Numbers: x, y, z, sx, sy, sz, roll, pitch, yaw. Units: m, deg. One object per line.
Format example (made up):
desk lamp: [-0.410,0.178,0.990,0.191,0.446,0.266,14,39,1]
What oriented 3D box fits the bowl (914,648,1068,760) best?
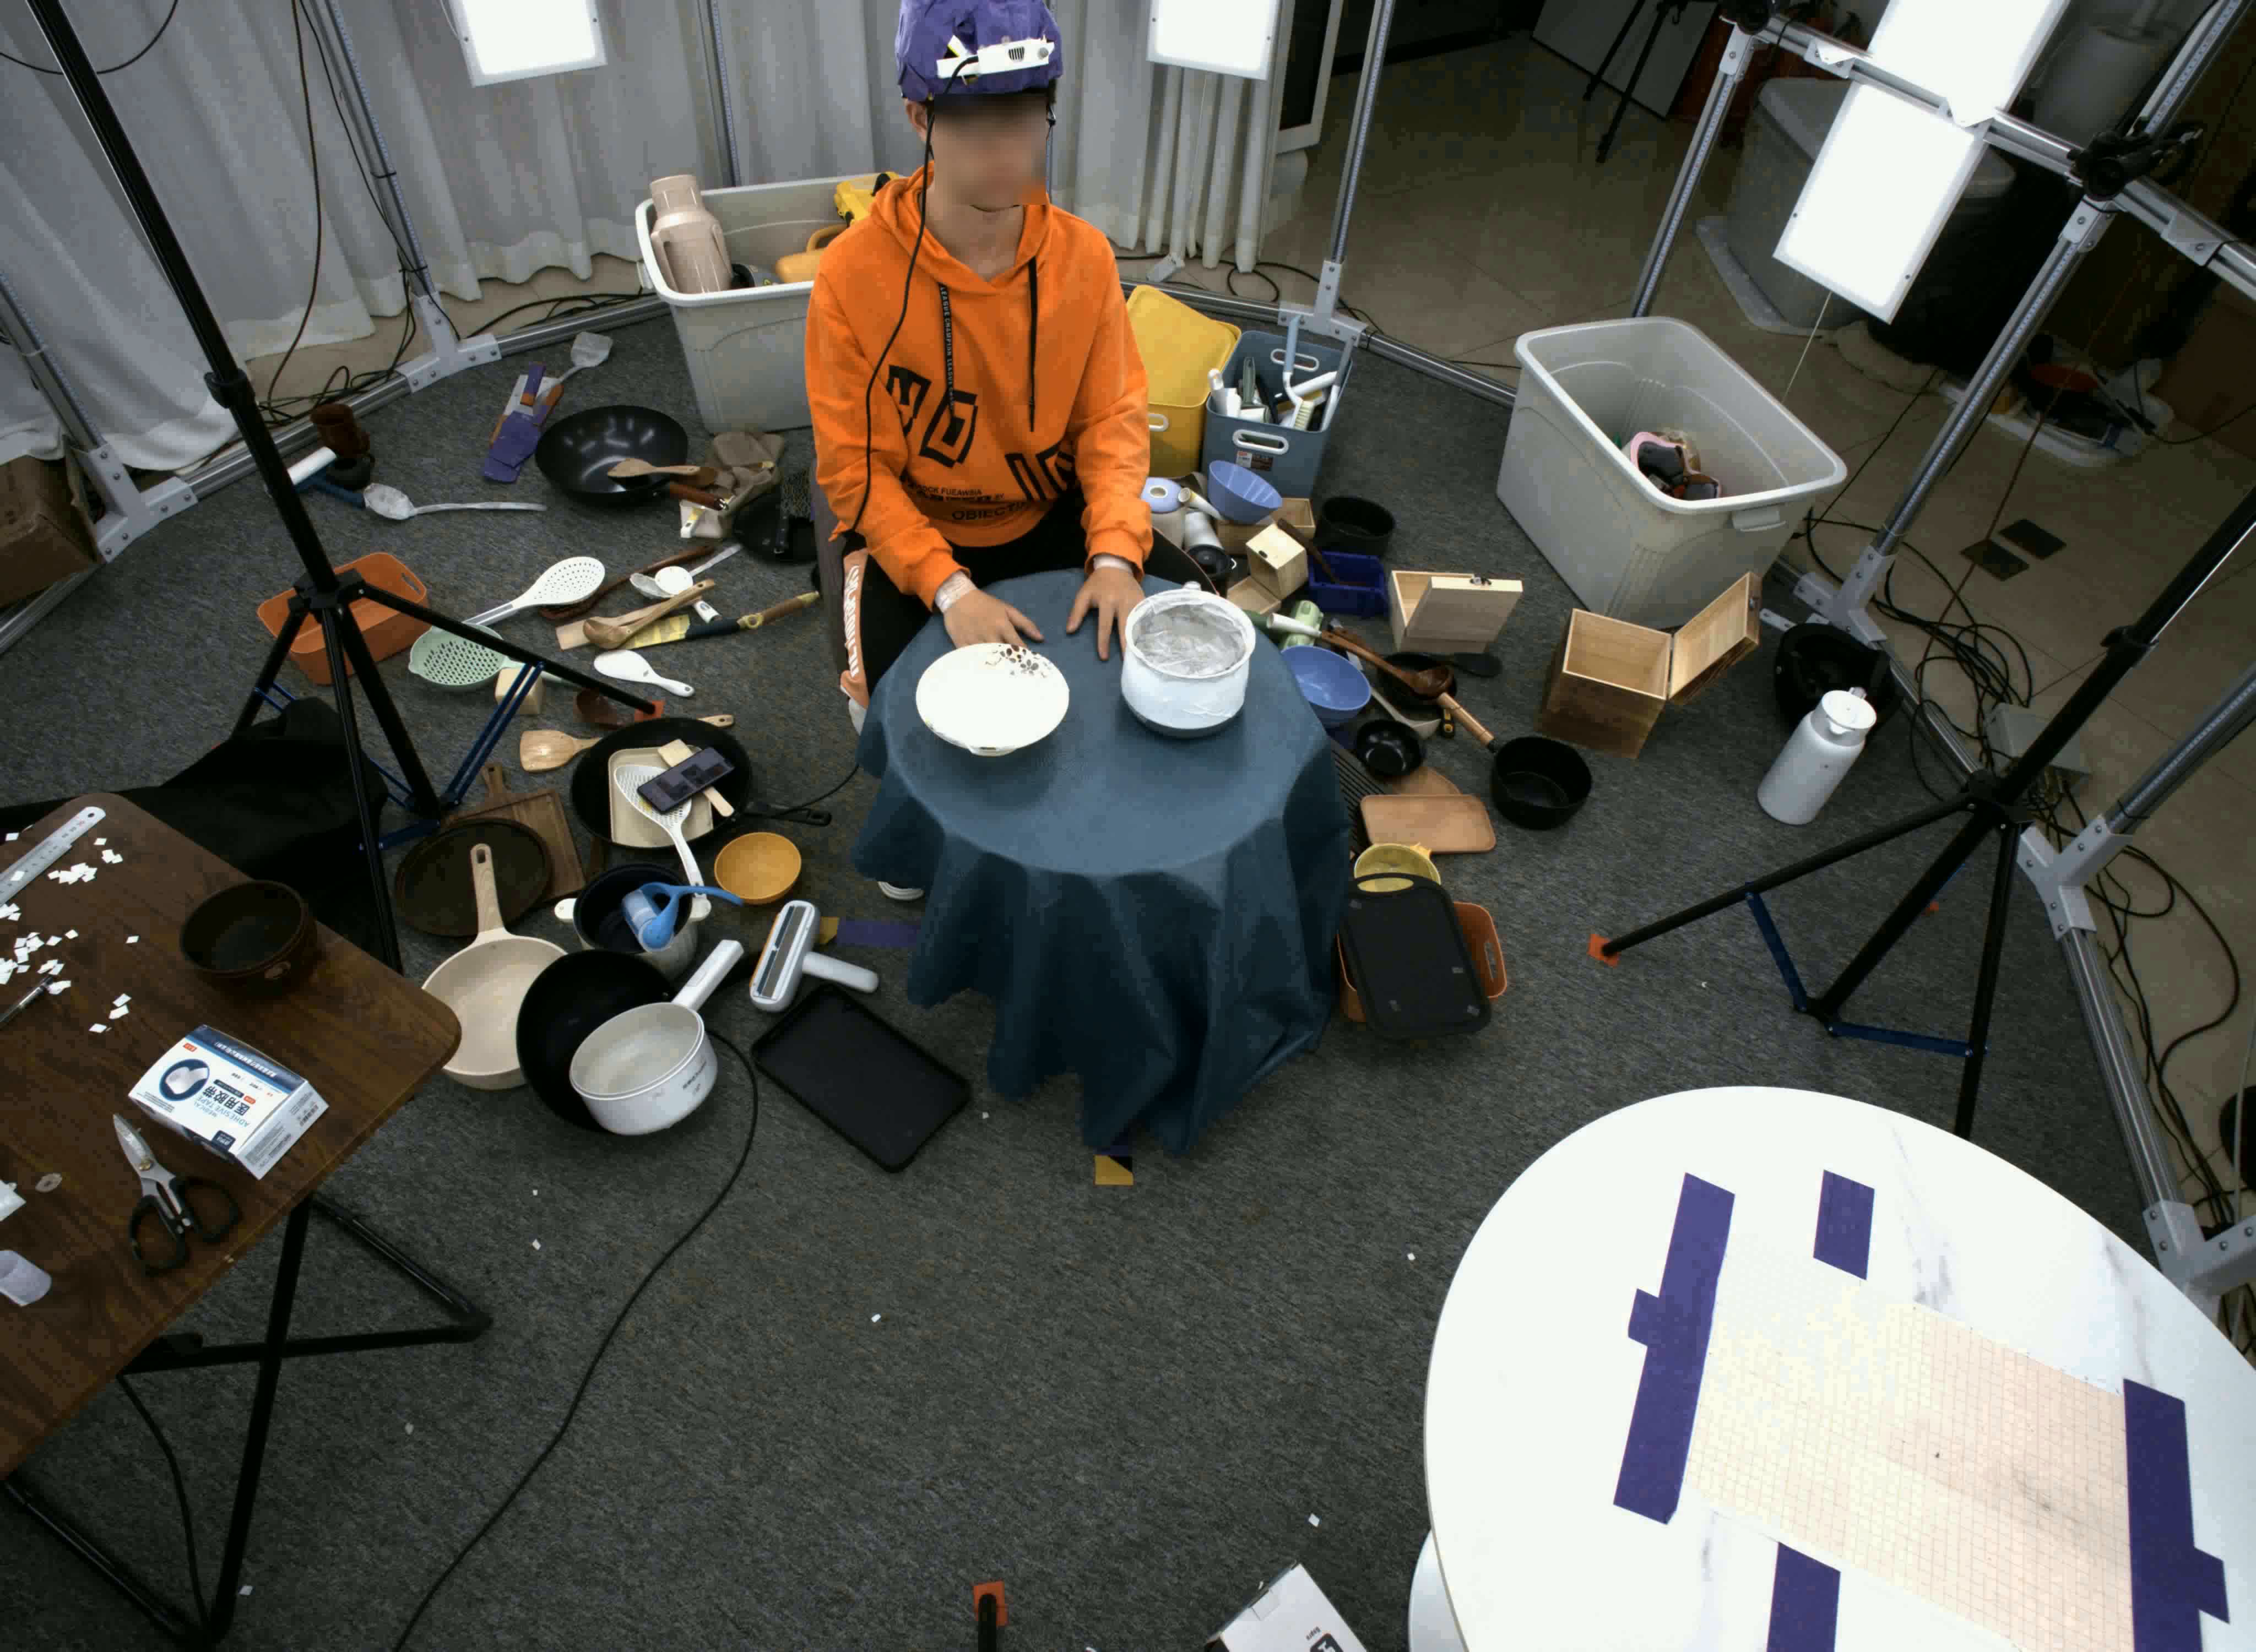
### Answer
bowl: [-0.183,-0.147,1.738,0.204,0.076,0.209,1,45,-2]

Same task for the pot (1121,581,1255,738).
pot: [0.081,-0.242,1.796,0.178,0.133,0.239,4,49,-1]
